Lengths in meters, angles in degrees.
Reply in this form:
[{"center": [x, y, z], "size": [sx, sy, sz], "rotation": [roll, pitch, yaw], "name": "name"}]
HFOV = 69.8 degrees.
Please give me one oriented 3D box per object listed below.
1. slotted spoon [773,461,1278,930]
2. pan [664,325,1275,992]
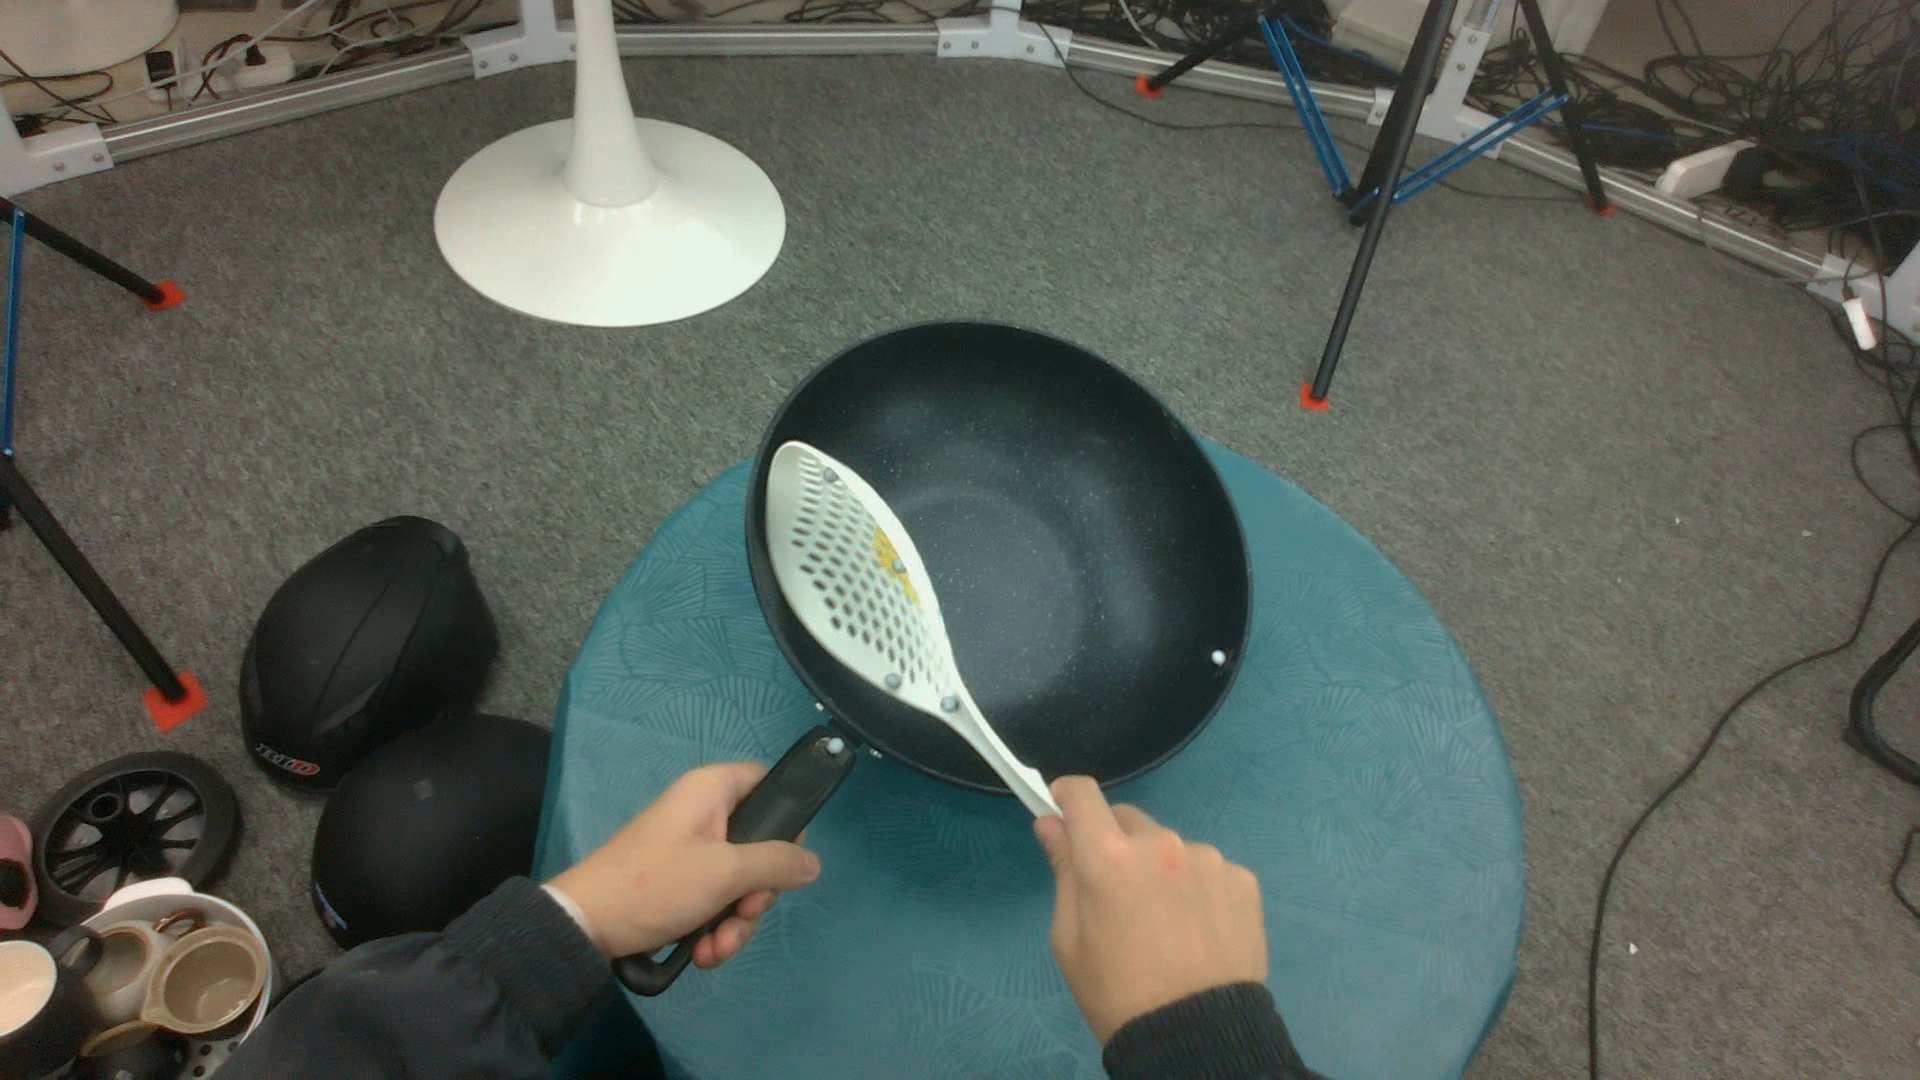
[{"center": [0.019, 0.083, 0.709], "size": [0.050, 0.136, 0.348], "rotation": [-24, 55, -32], "name": "slotted spoon"}, {"center": [-0.010, 0.068, 0.797], "size": [0.310, 0.111, 0.479], "rotation": [35, 59, 6], "name": "pan"}]
